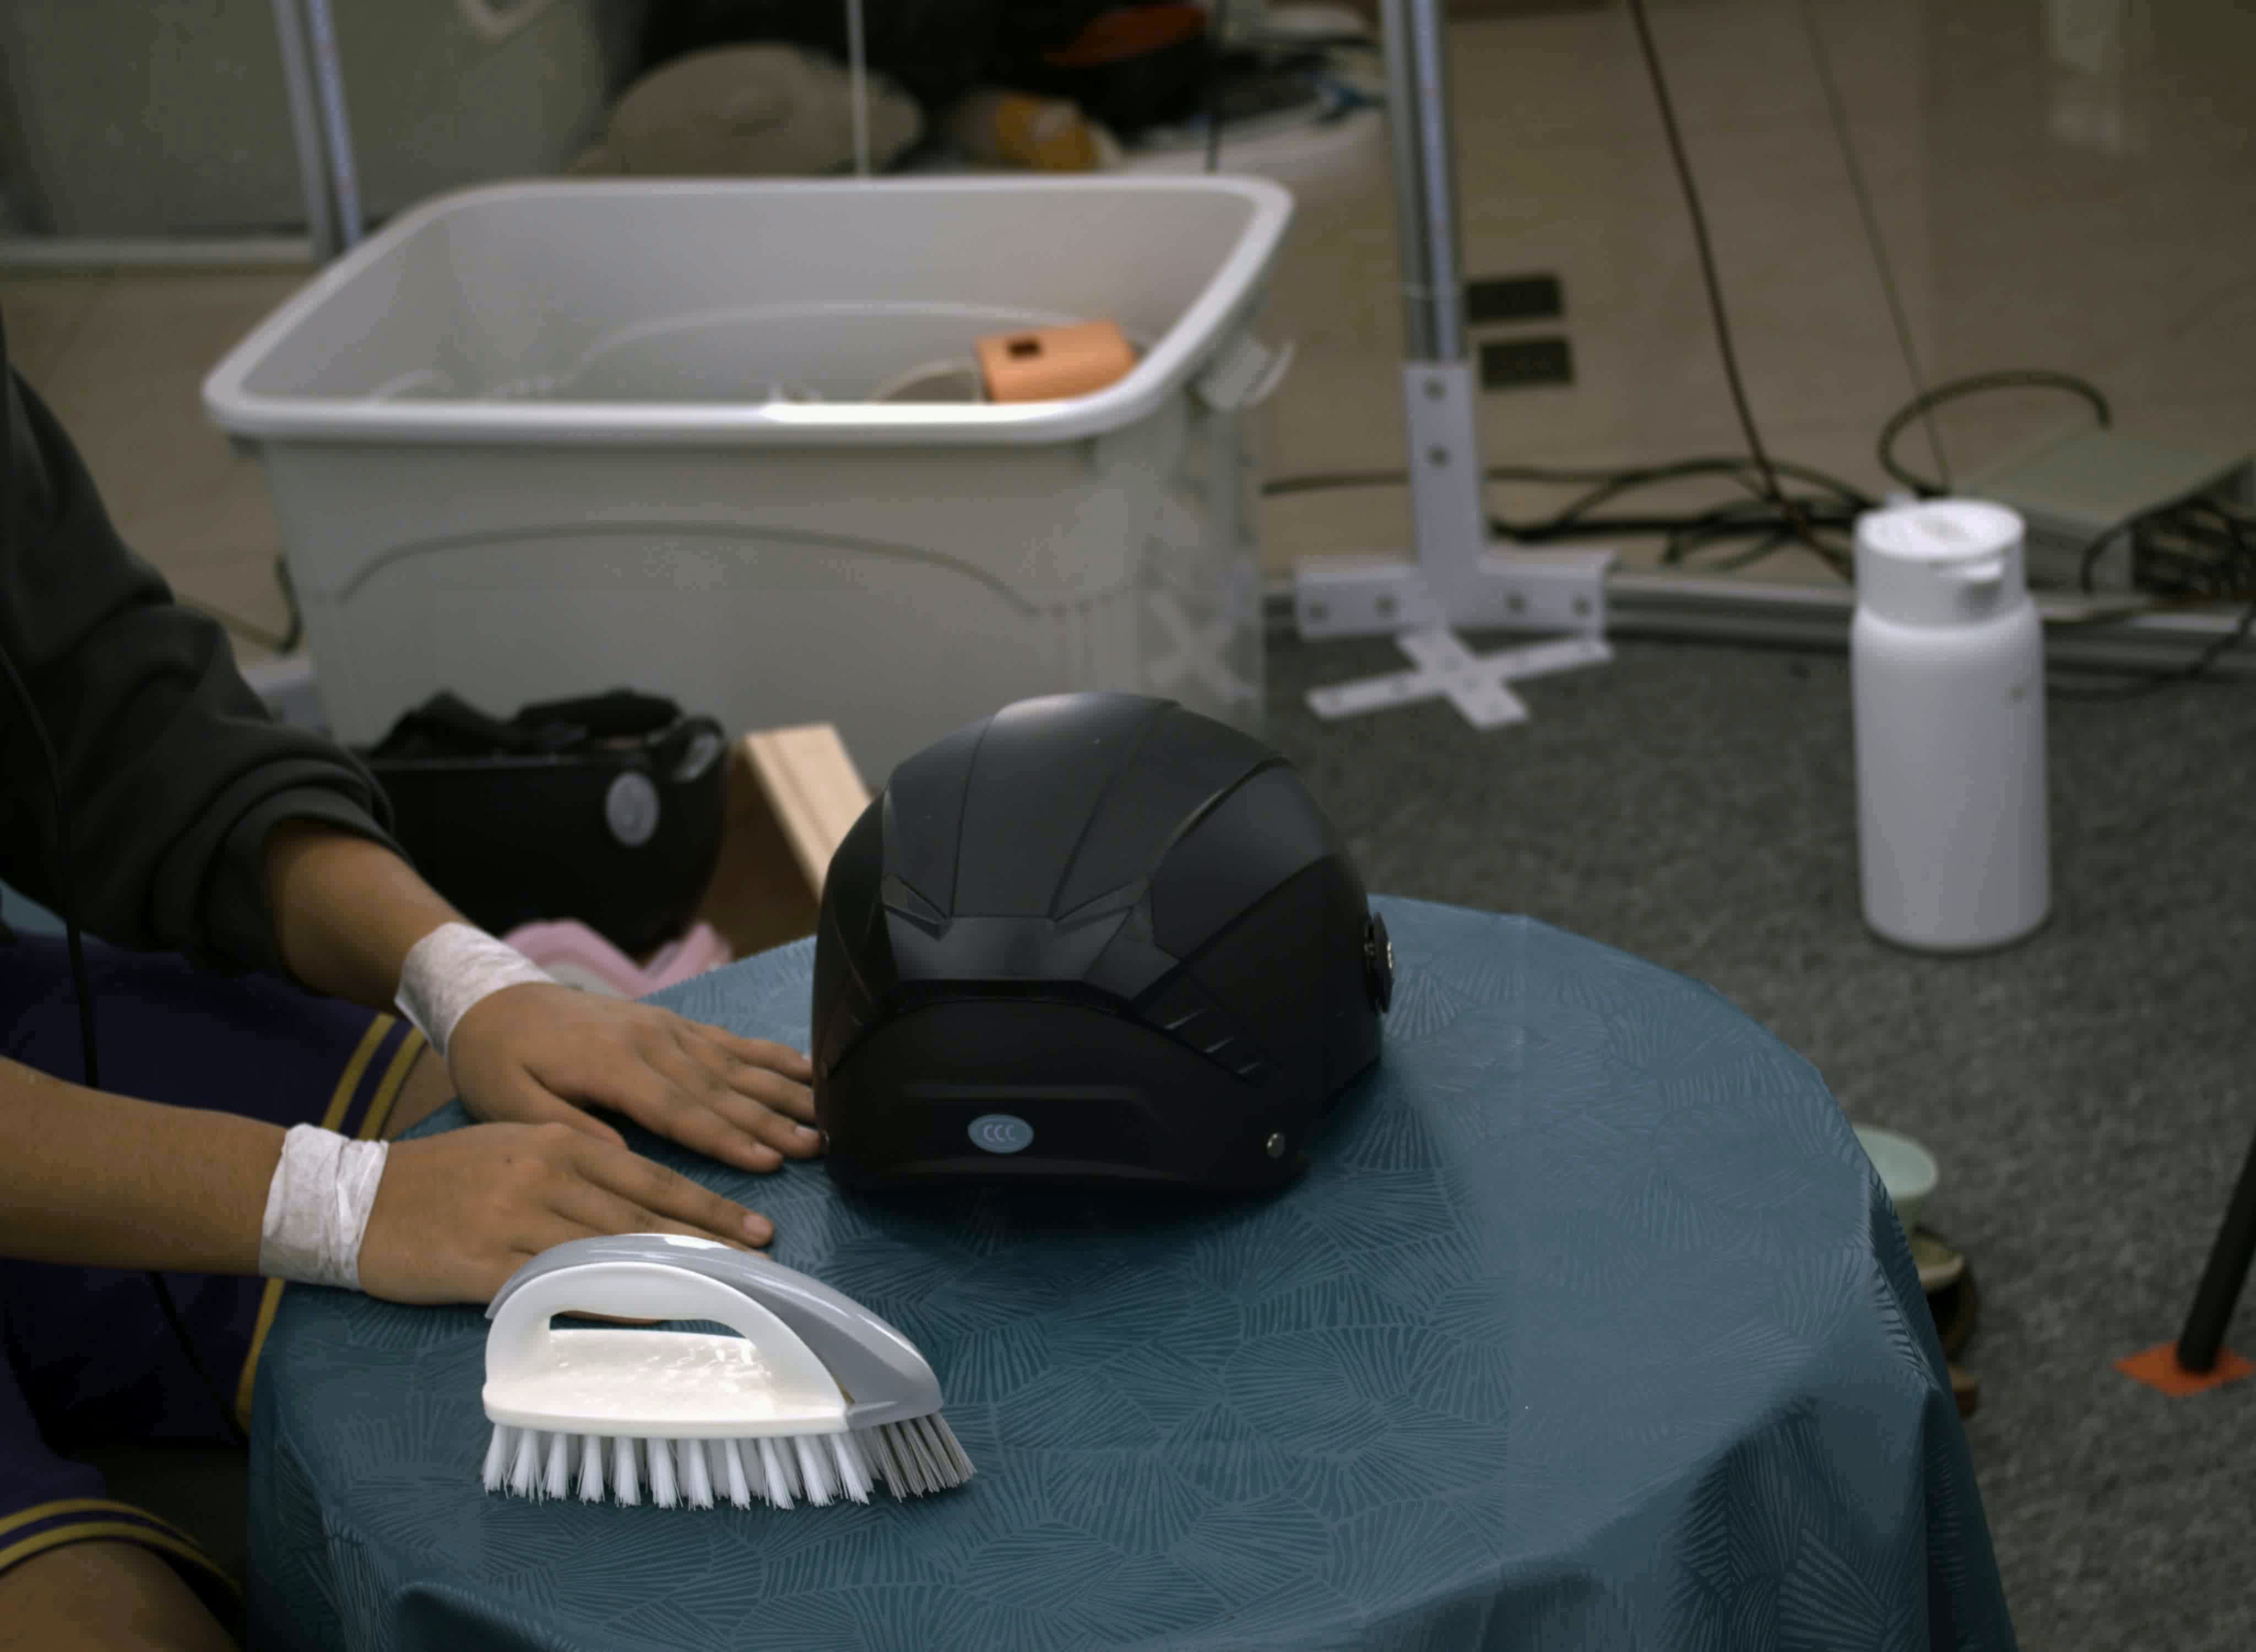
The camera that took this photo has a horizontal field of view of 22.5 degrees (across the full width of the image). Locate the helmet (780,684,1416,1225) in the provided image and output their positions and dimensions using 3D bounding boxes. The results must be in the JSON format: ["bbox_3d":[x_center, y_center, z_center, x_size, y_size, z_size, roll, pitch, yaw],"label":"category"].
[{"bbox_3d":[-0.015,0.034,2.186,0.246,0.175,0.272,2,31,16],"label":"helmet"}]

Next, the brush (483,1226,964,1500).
[{"bbox_3d":[-0.143,0.184,1.977,0.175,0.096,0.060,4,29,18],"label":"brush"}]
